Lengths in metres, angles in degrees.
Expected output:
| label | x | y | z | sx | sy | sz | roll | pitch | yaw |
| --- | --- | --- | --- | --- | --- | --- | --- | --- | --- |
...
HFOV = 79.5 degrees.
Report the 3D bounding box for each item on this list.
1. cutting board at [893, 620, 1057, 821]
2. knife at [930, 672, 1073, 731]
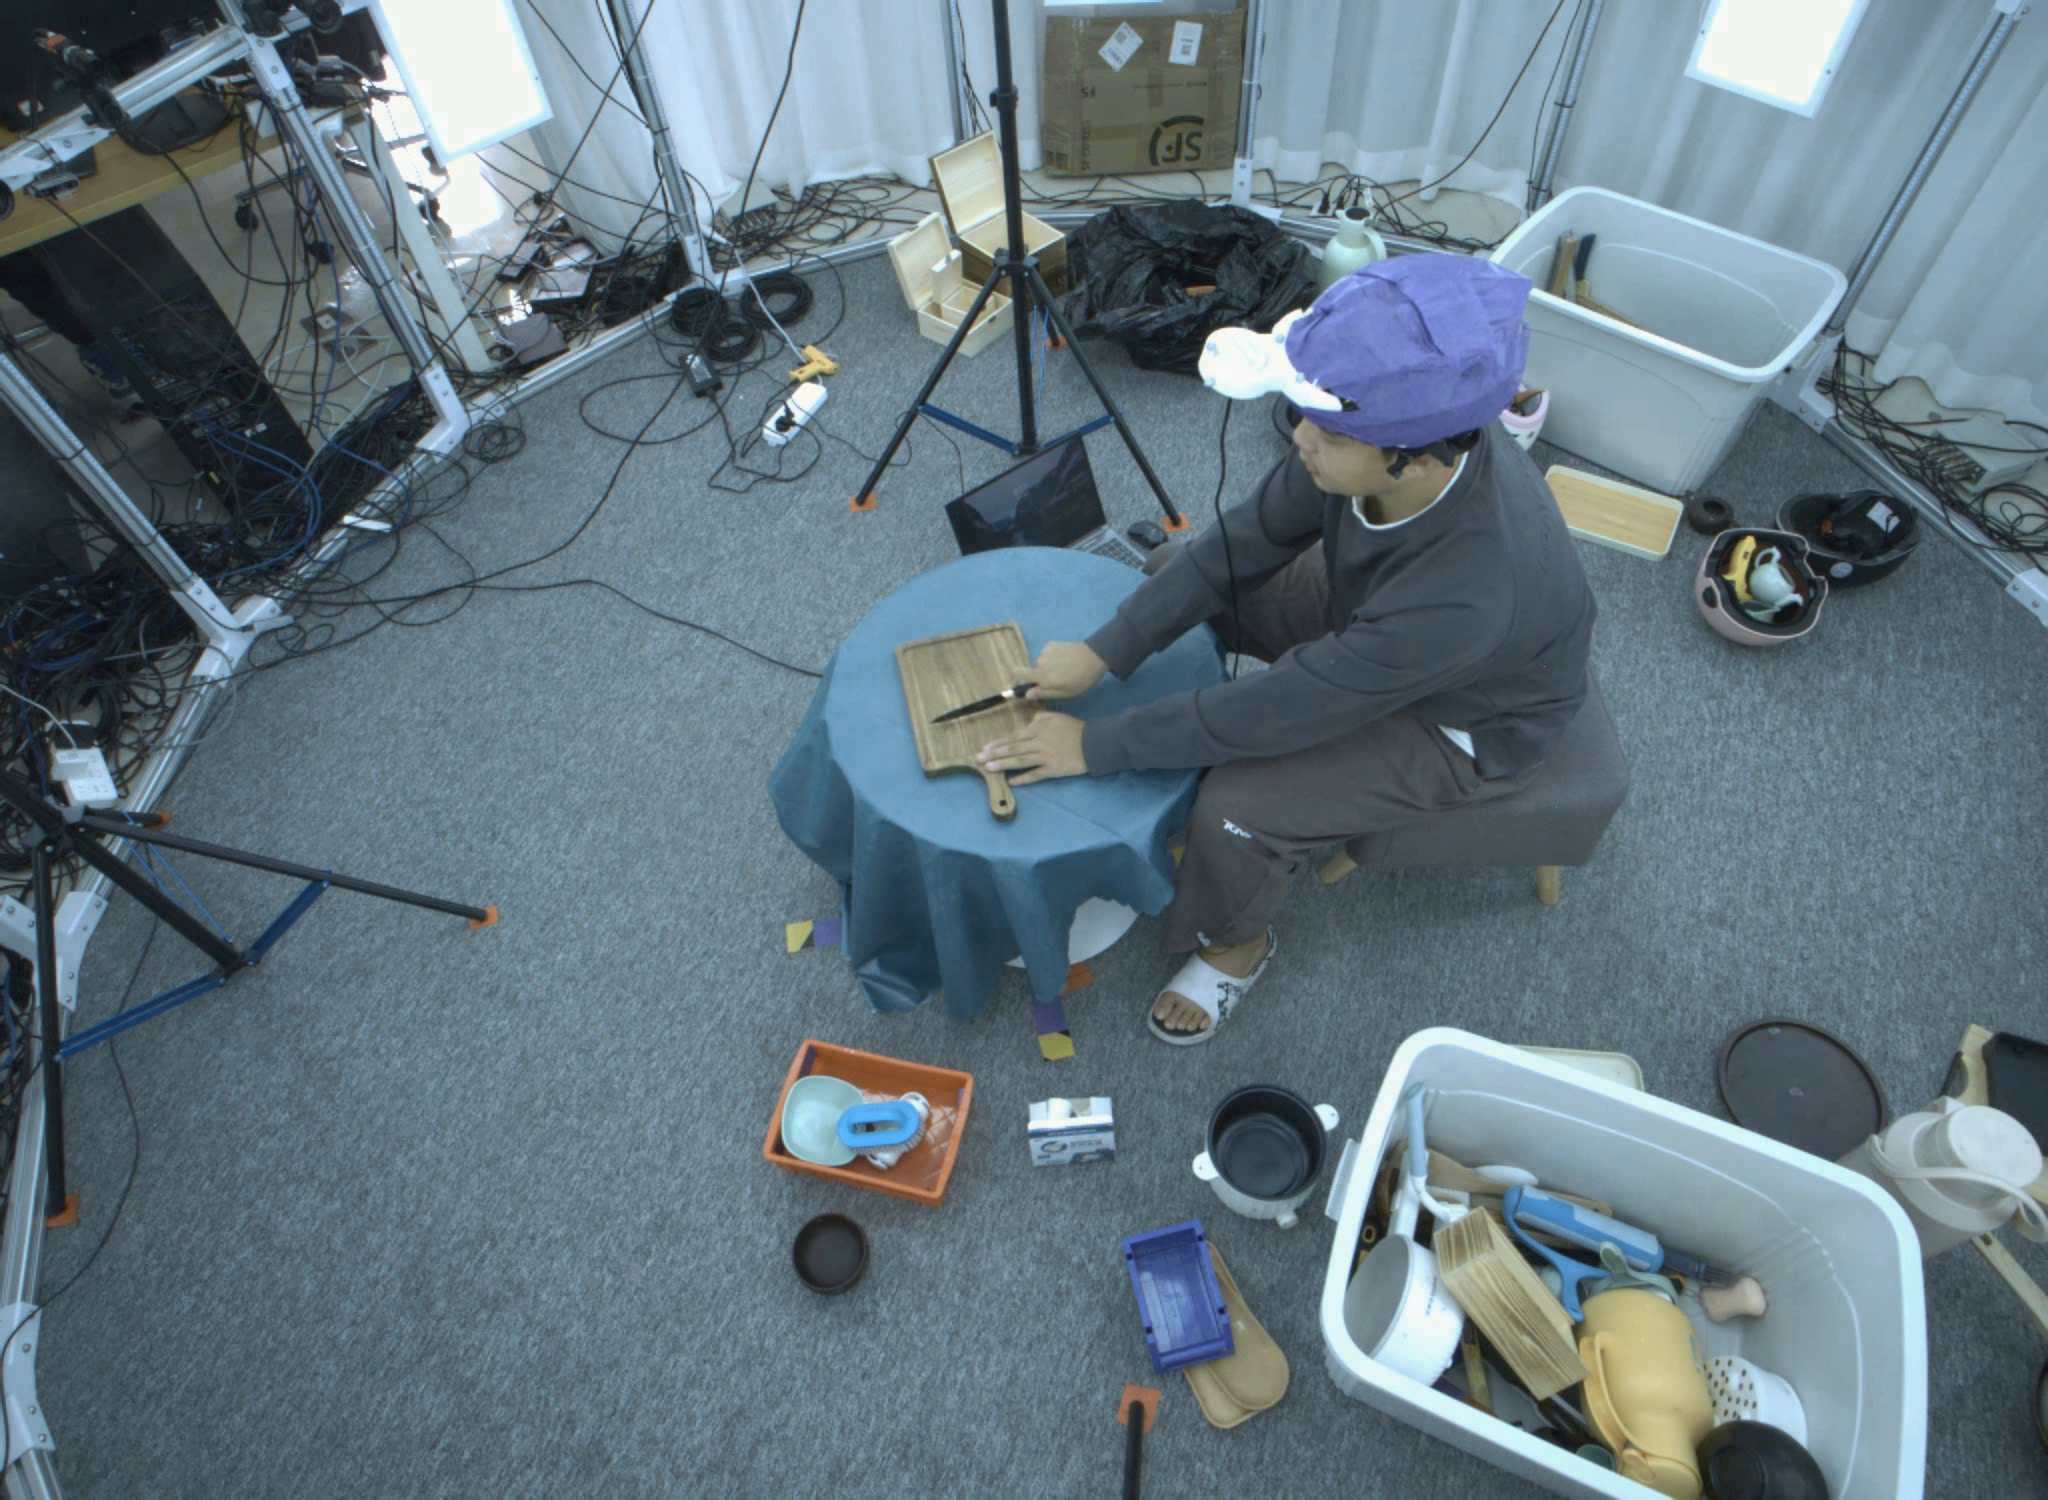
| label | x | y | z | sx | sy | sz | roll | pitch | yaw |
| --- | --- | --- | --- | --- | --- | --- | --- | --- | --- |
| cutting board | -0.065 | -0.043 | 1.807 | 0.202 | 0.023 | 0.346 | -12 | 56 | -7 |
| knife | -0.033 | -0.072 | 1.805 | 0.226 | 0.026 | 0.017 | -20 | 49 | -8 |
